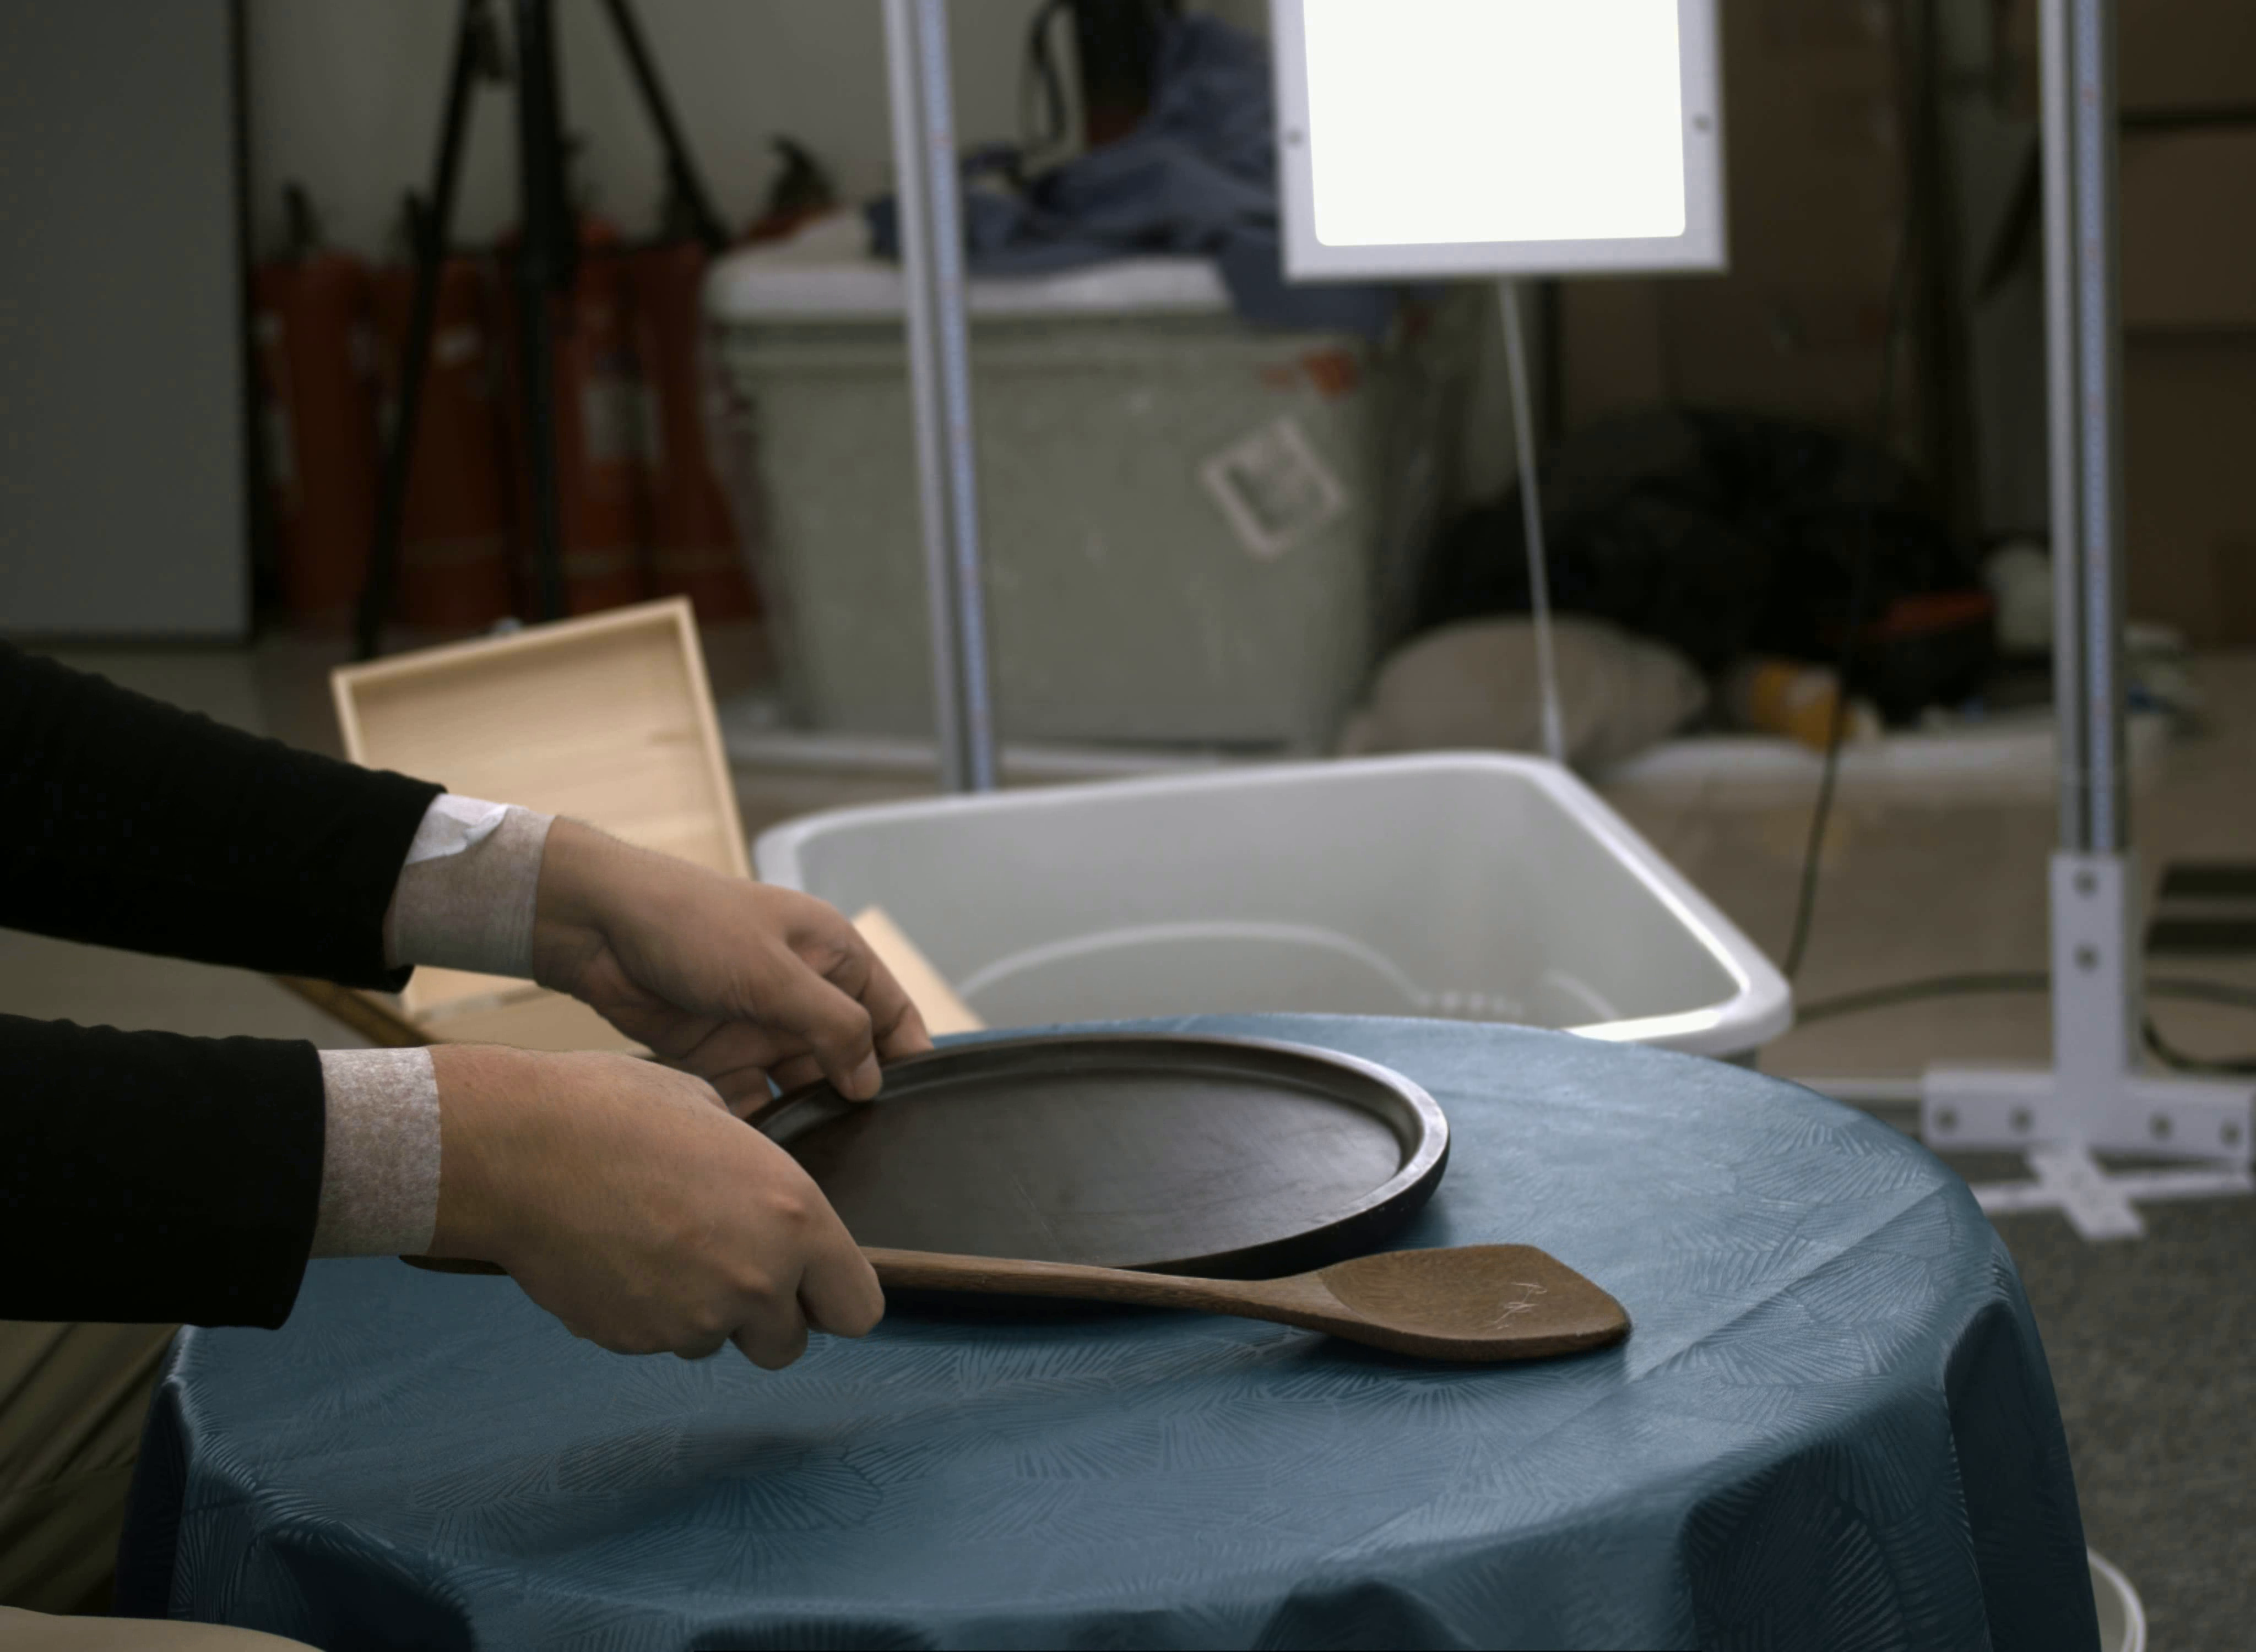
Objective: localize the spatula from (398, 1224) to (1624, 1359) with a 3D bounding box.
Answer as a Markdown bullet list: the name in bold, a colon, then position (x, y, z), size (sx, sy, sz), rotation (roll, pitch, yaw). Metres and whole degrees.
- **spatula**: position (-0.033, 0.140, 1.699), size (0.381, 0.016, 0.097), rotation (4, 11, -13)

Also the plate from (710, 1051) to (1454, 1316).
- **plate**: position (-0.015, 0.119, 1.877), size (0.254, 0.029, 0.254), rotation (-3, 15, -1)
